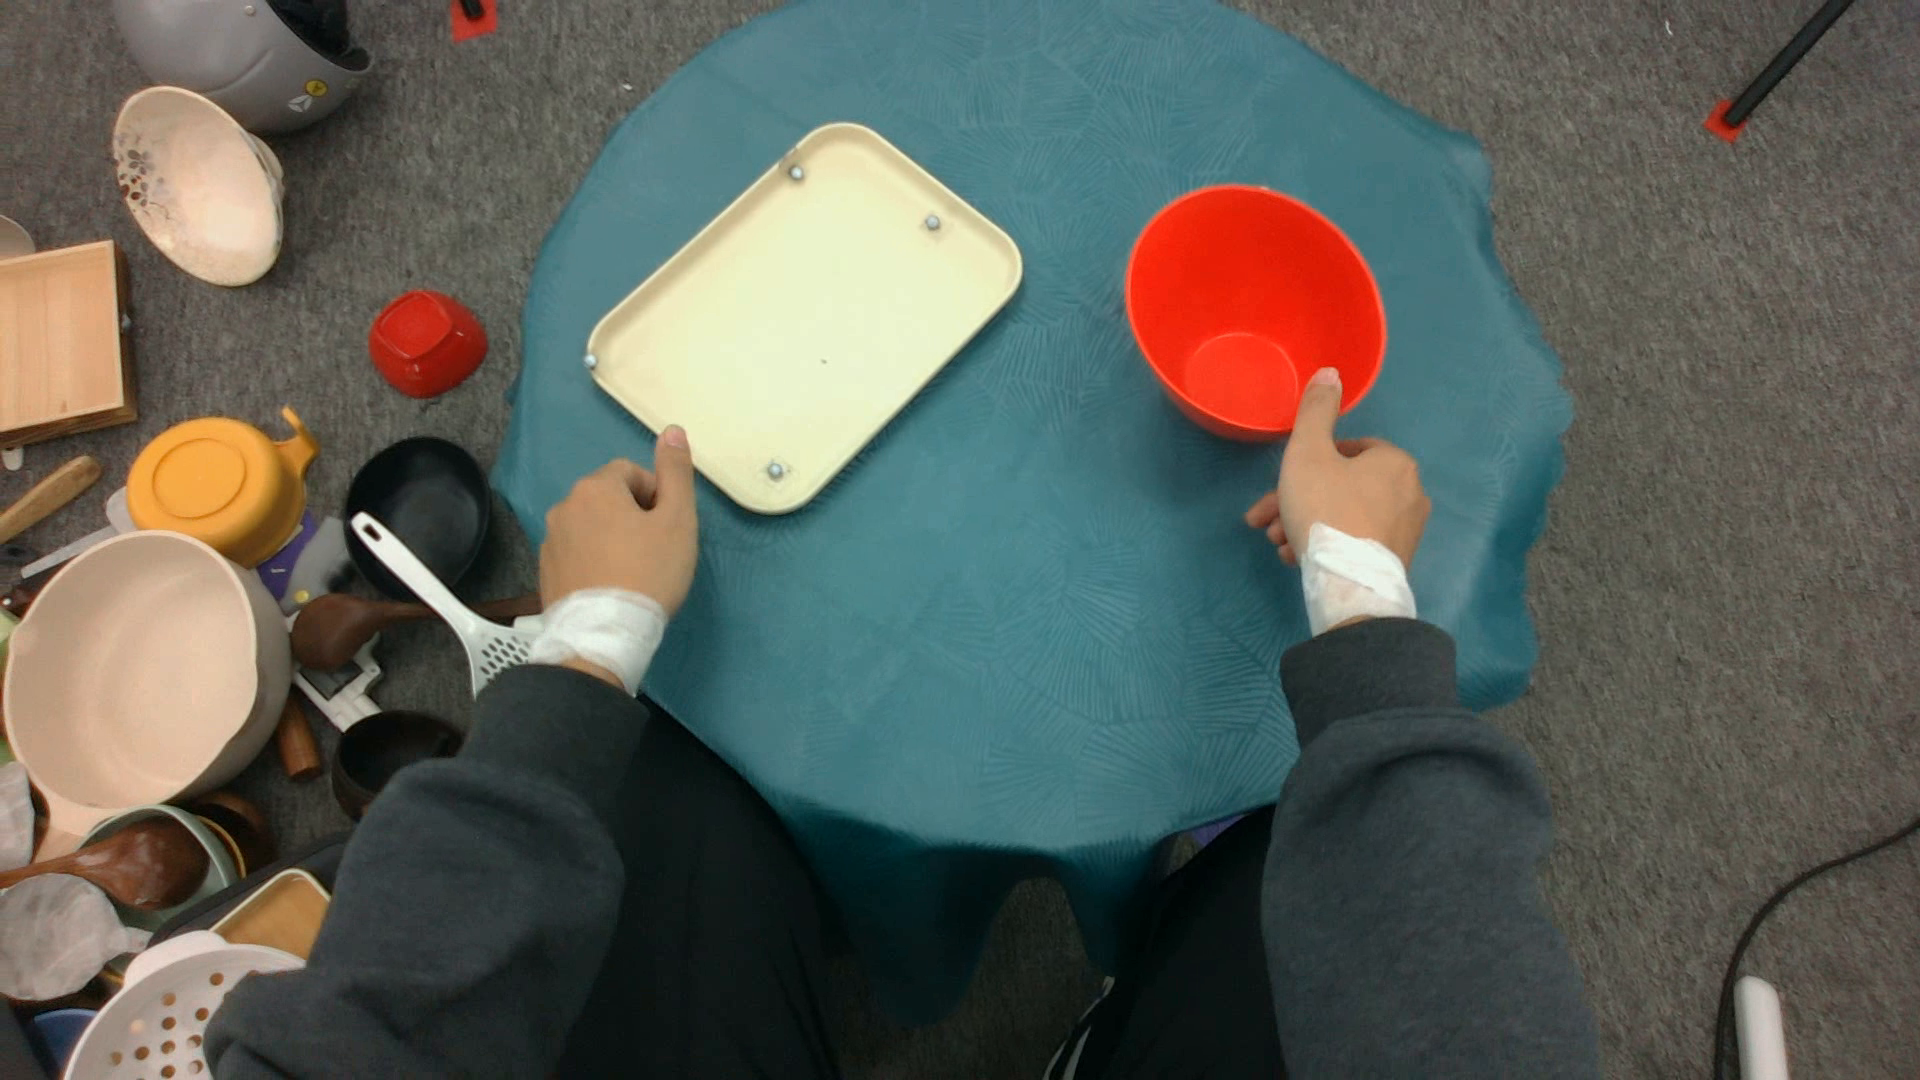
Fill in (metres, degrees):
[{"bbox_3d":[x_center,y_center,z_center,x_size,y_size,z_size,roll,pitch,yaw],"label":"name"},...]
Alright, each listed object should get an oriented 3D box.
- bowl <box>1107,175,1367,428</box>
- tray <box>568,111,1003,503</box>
[{"bbox_3d":[0.151,-0.122,0.789,0.148,0.104,0.148,1,68,-2],"label":"bowl"},{"bbox_3d":[-0.102,-0.144,0.830,0.171,0.017,0.240,40,73,11],"label":"tray"}]
